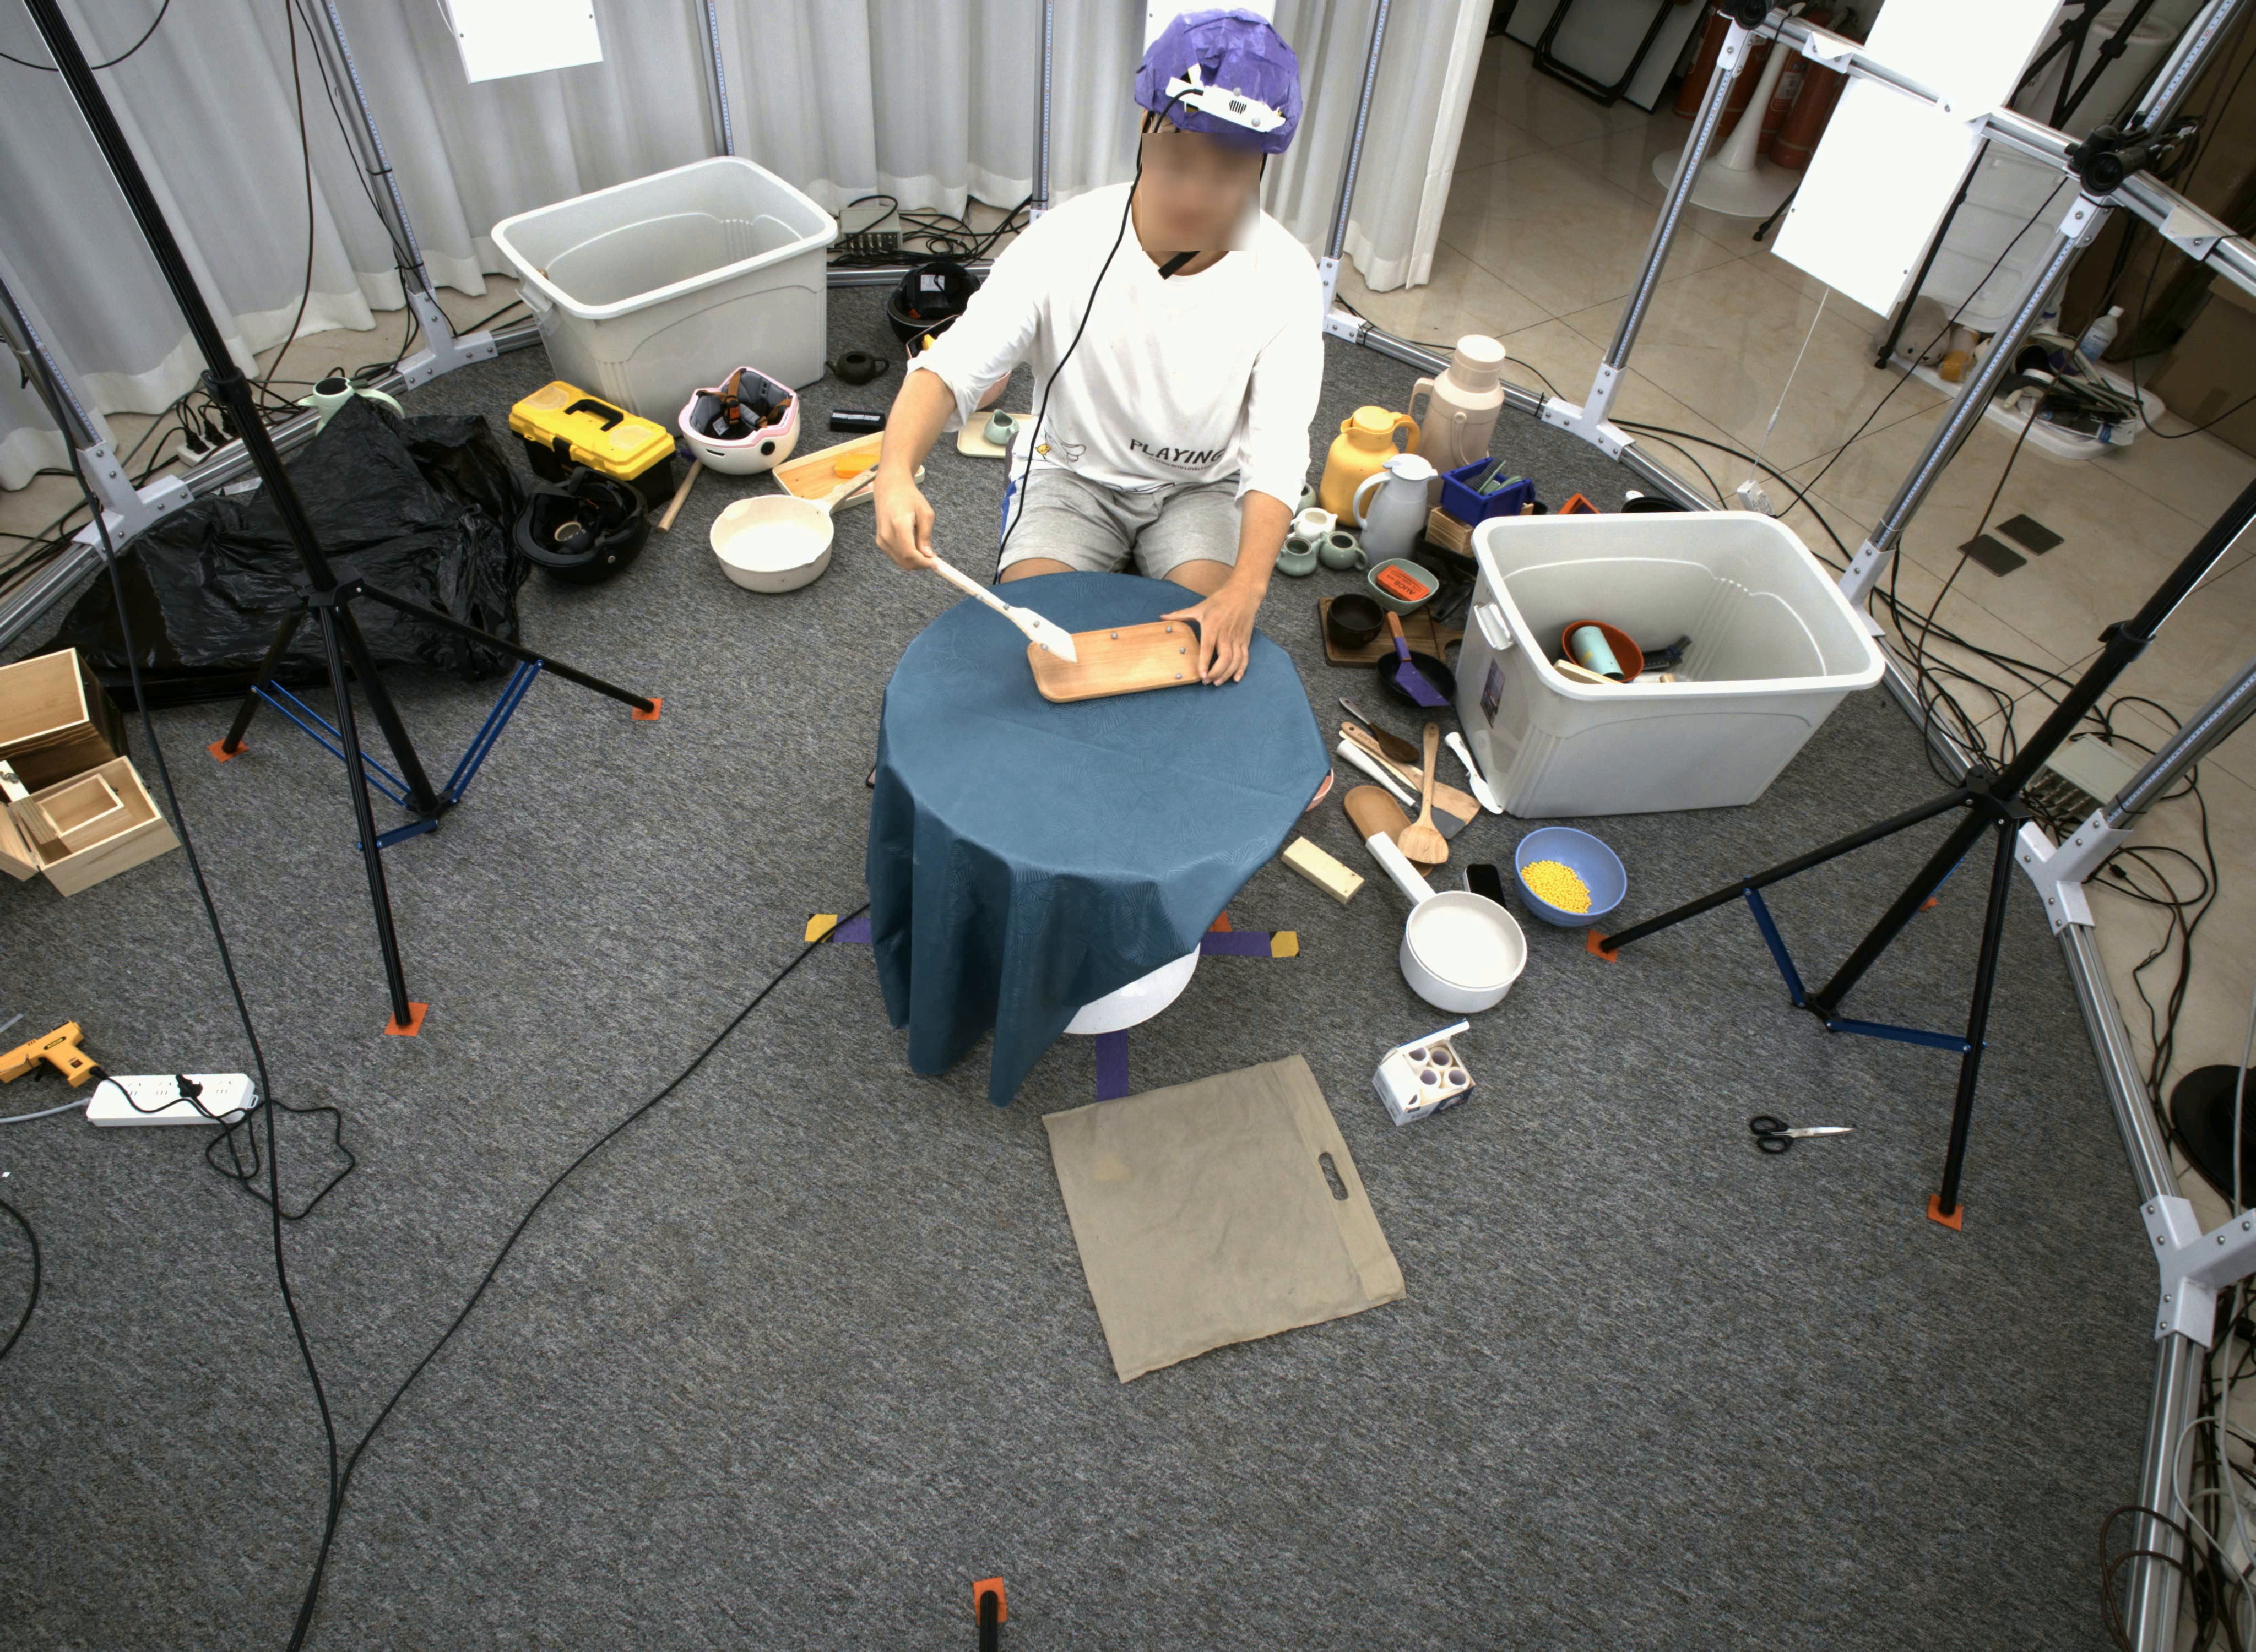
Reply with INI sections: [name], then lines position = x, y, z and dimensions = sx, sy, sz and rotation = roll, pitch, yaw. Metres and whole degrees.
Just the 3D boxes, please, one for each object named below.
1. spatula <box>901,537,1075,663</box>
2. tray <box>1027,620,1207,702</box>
[spatula]
position = -0.185, -0.306, 1.737
dimensions = 0.288, 0.010, 0.074
rotation = 29, 32, -34
[tray]
position = -0.016, -0.240, 1.862
dimensions = 0.250, 0.022, 0.134
rotation = -9, 48, -11
